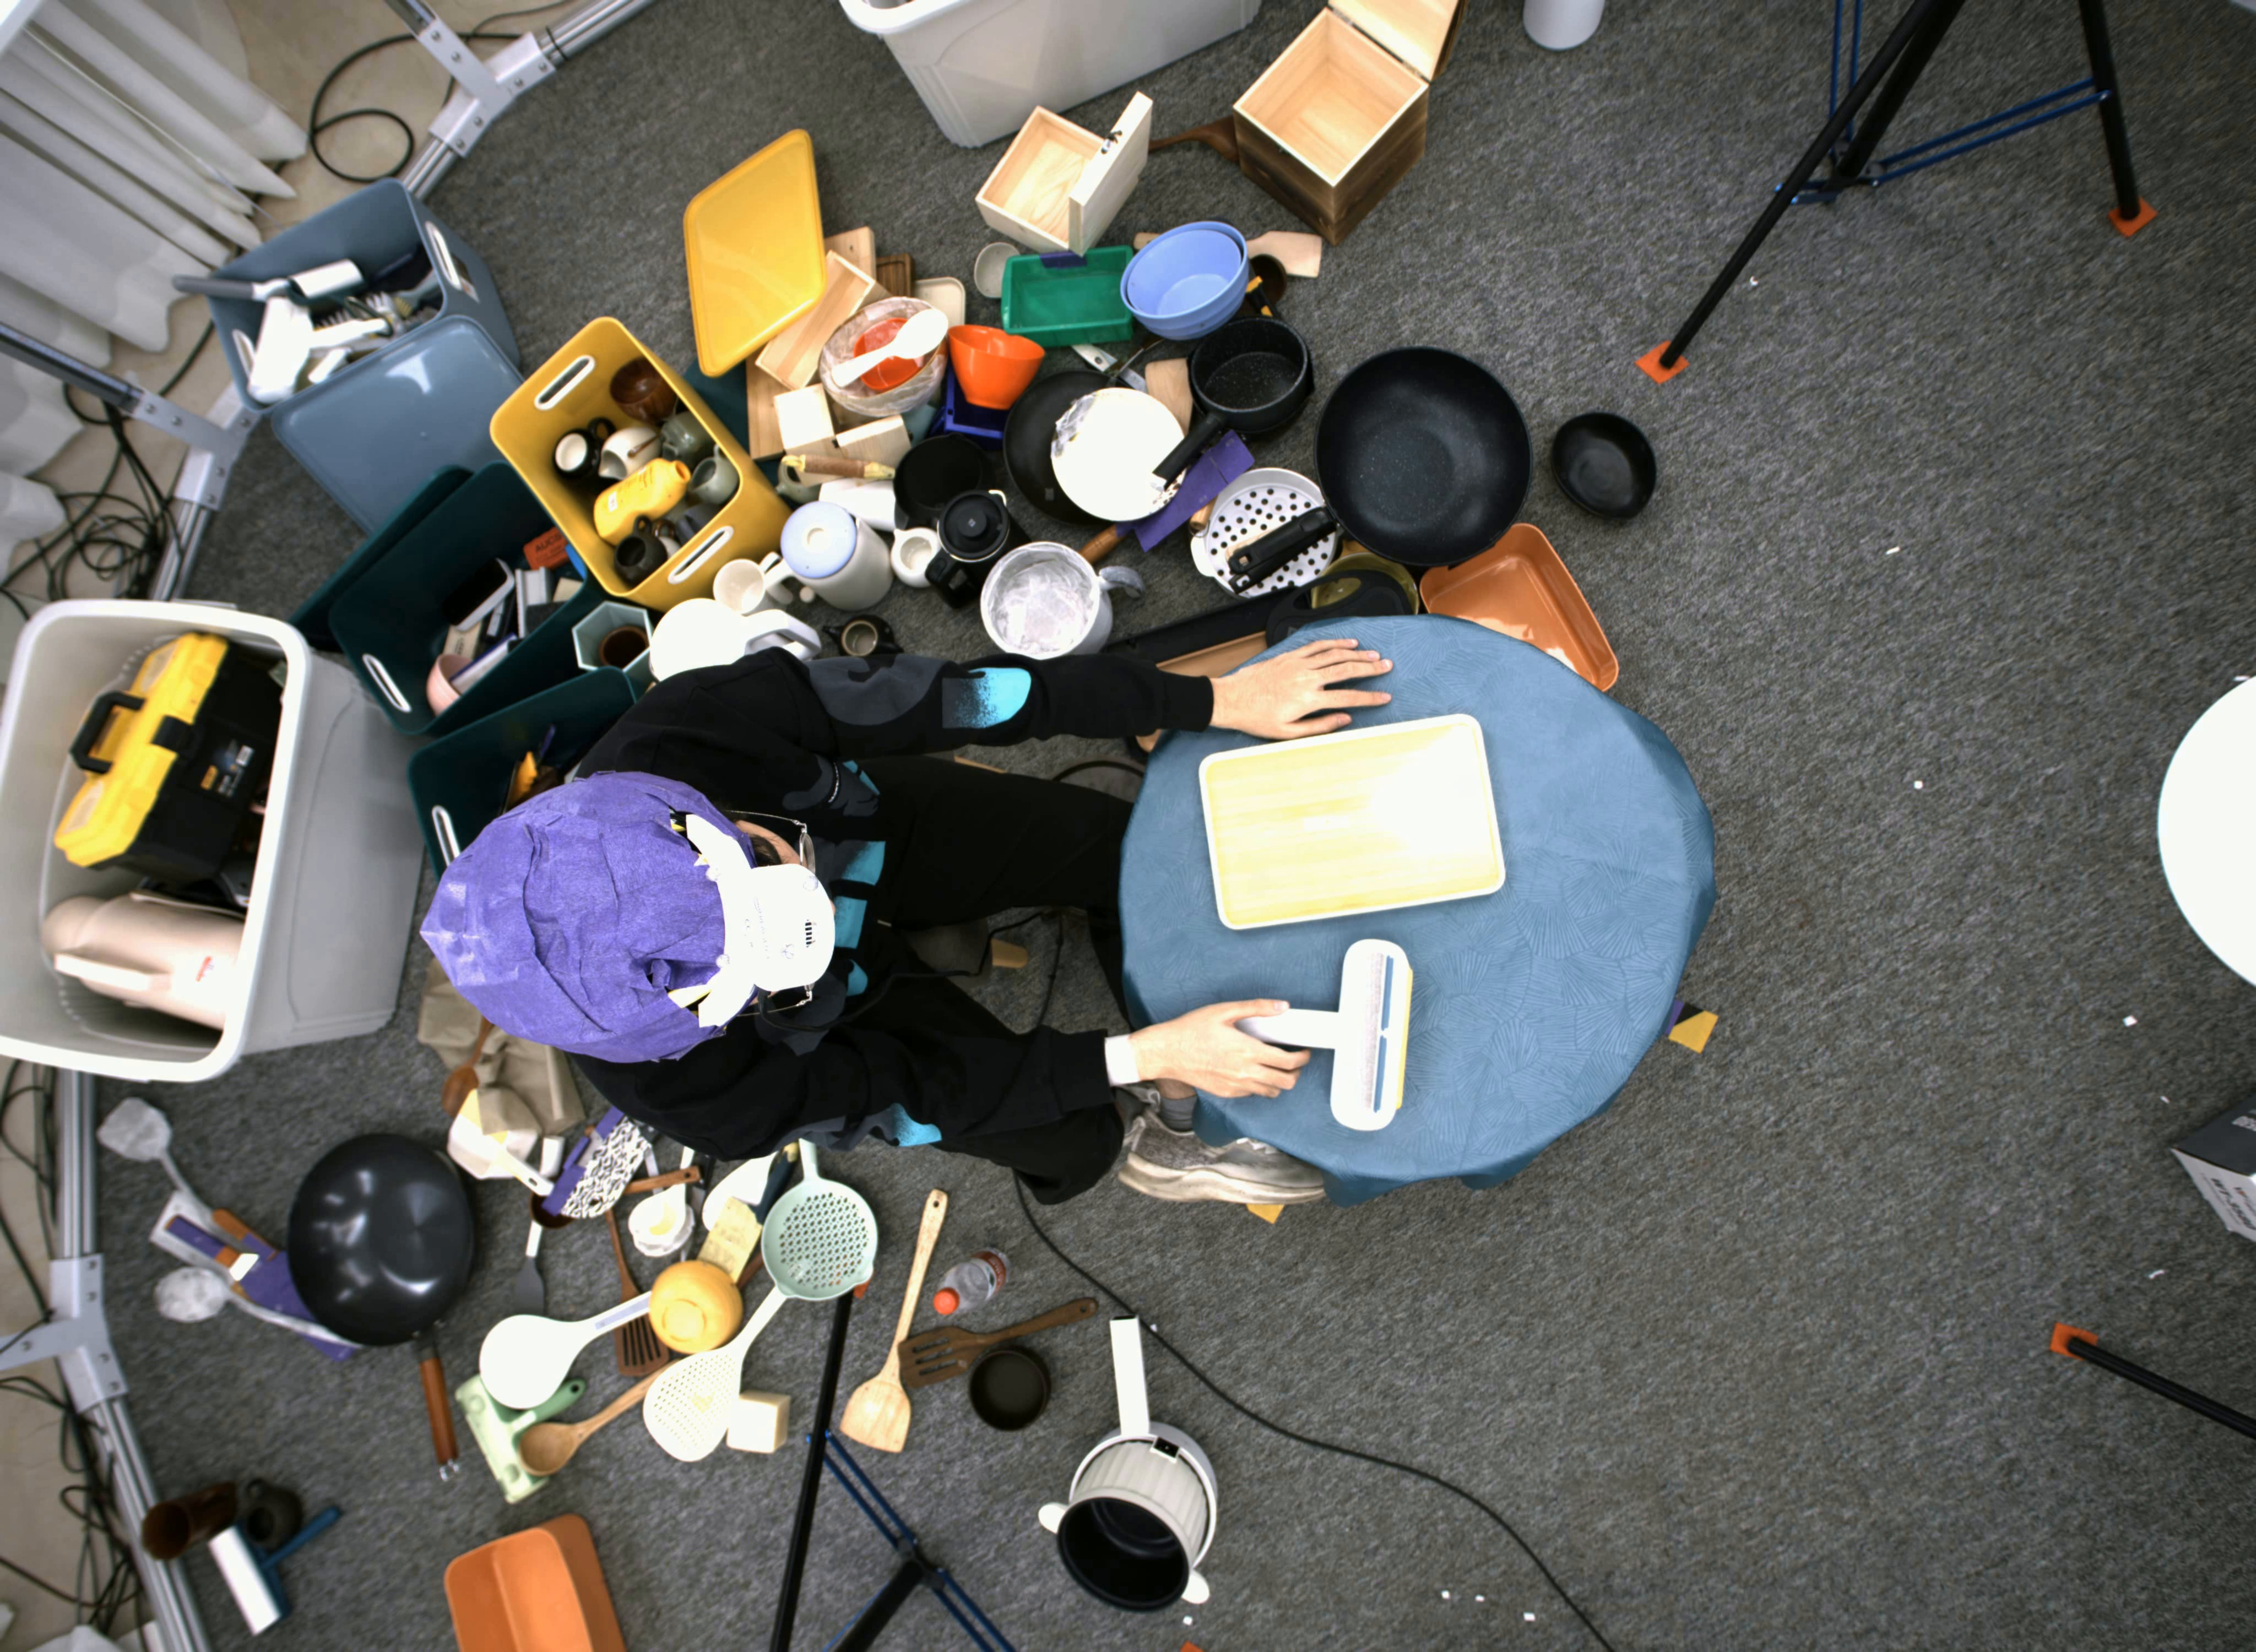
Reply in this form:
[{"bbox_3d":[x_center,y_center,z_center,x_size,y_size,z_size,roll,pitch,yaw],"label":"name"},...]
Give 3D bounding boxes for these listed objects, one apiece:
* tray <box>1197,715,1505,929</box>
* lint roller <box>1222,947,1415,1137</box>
[{"bbox_3d":[0.233,-0.004,1.452,0.302,0.027,0.191,-8,87,10],"label":"tray"},{"bbox_3d":[0.190,0.211,1.429,0.193,0.074,0.191,9,83,12],"label":"lint roller"}]
